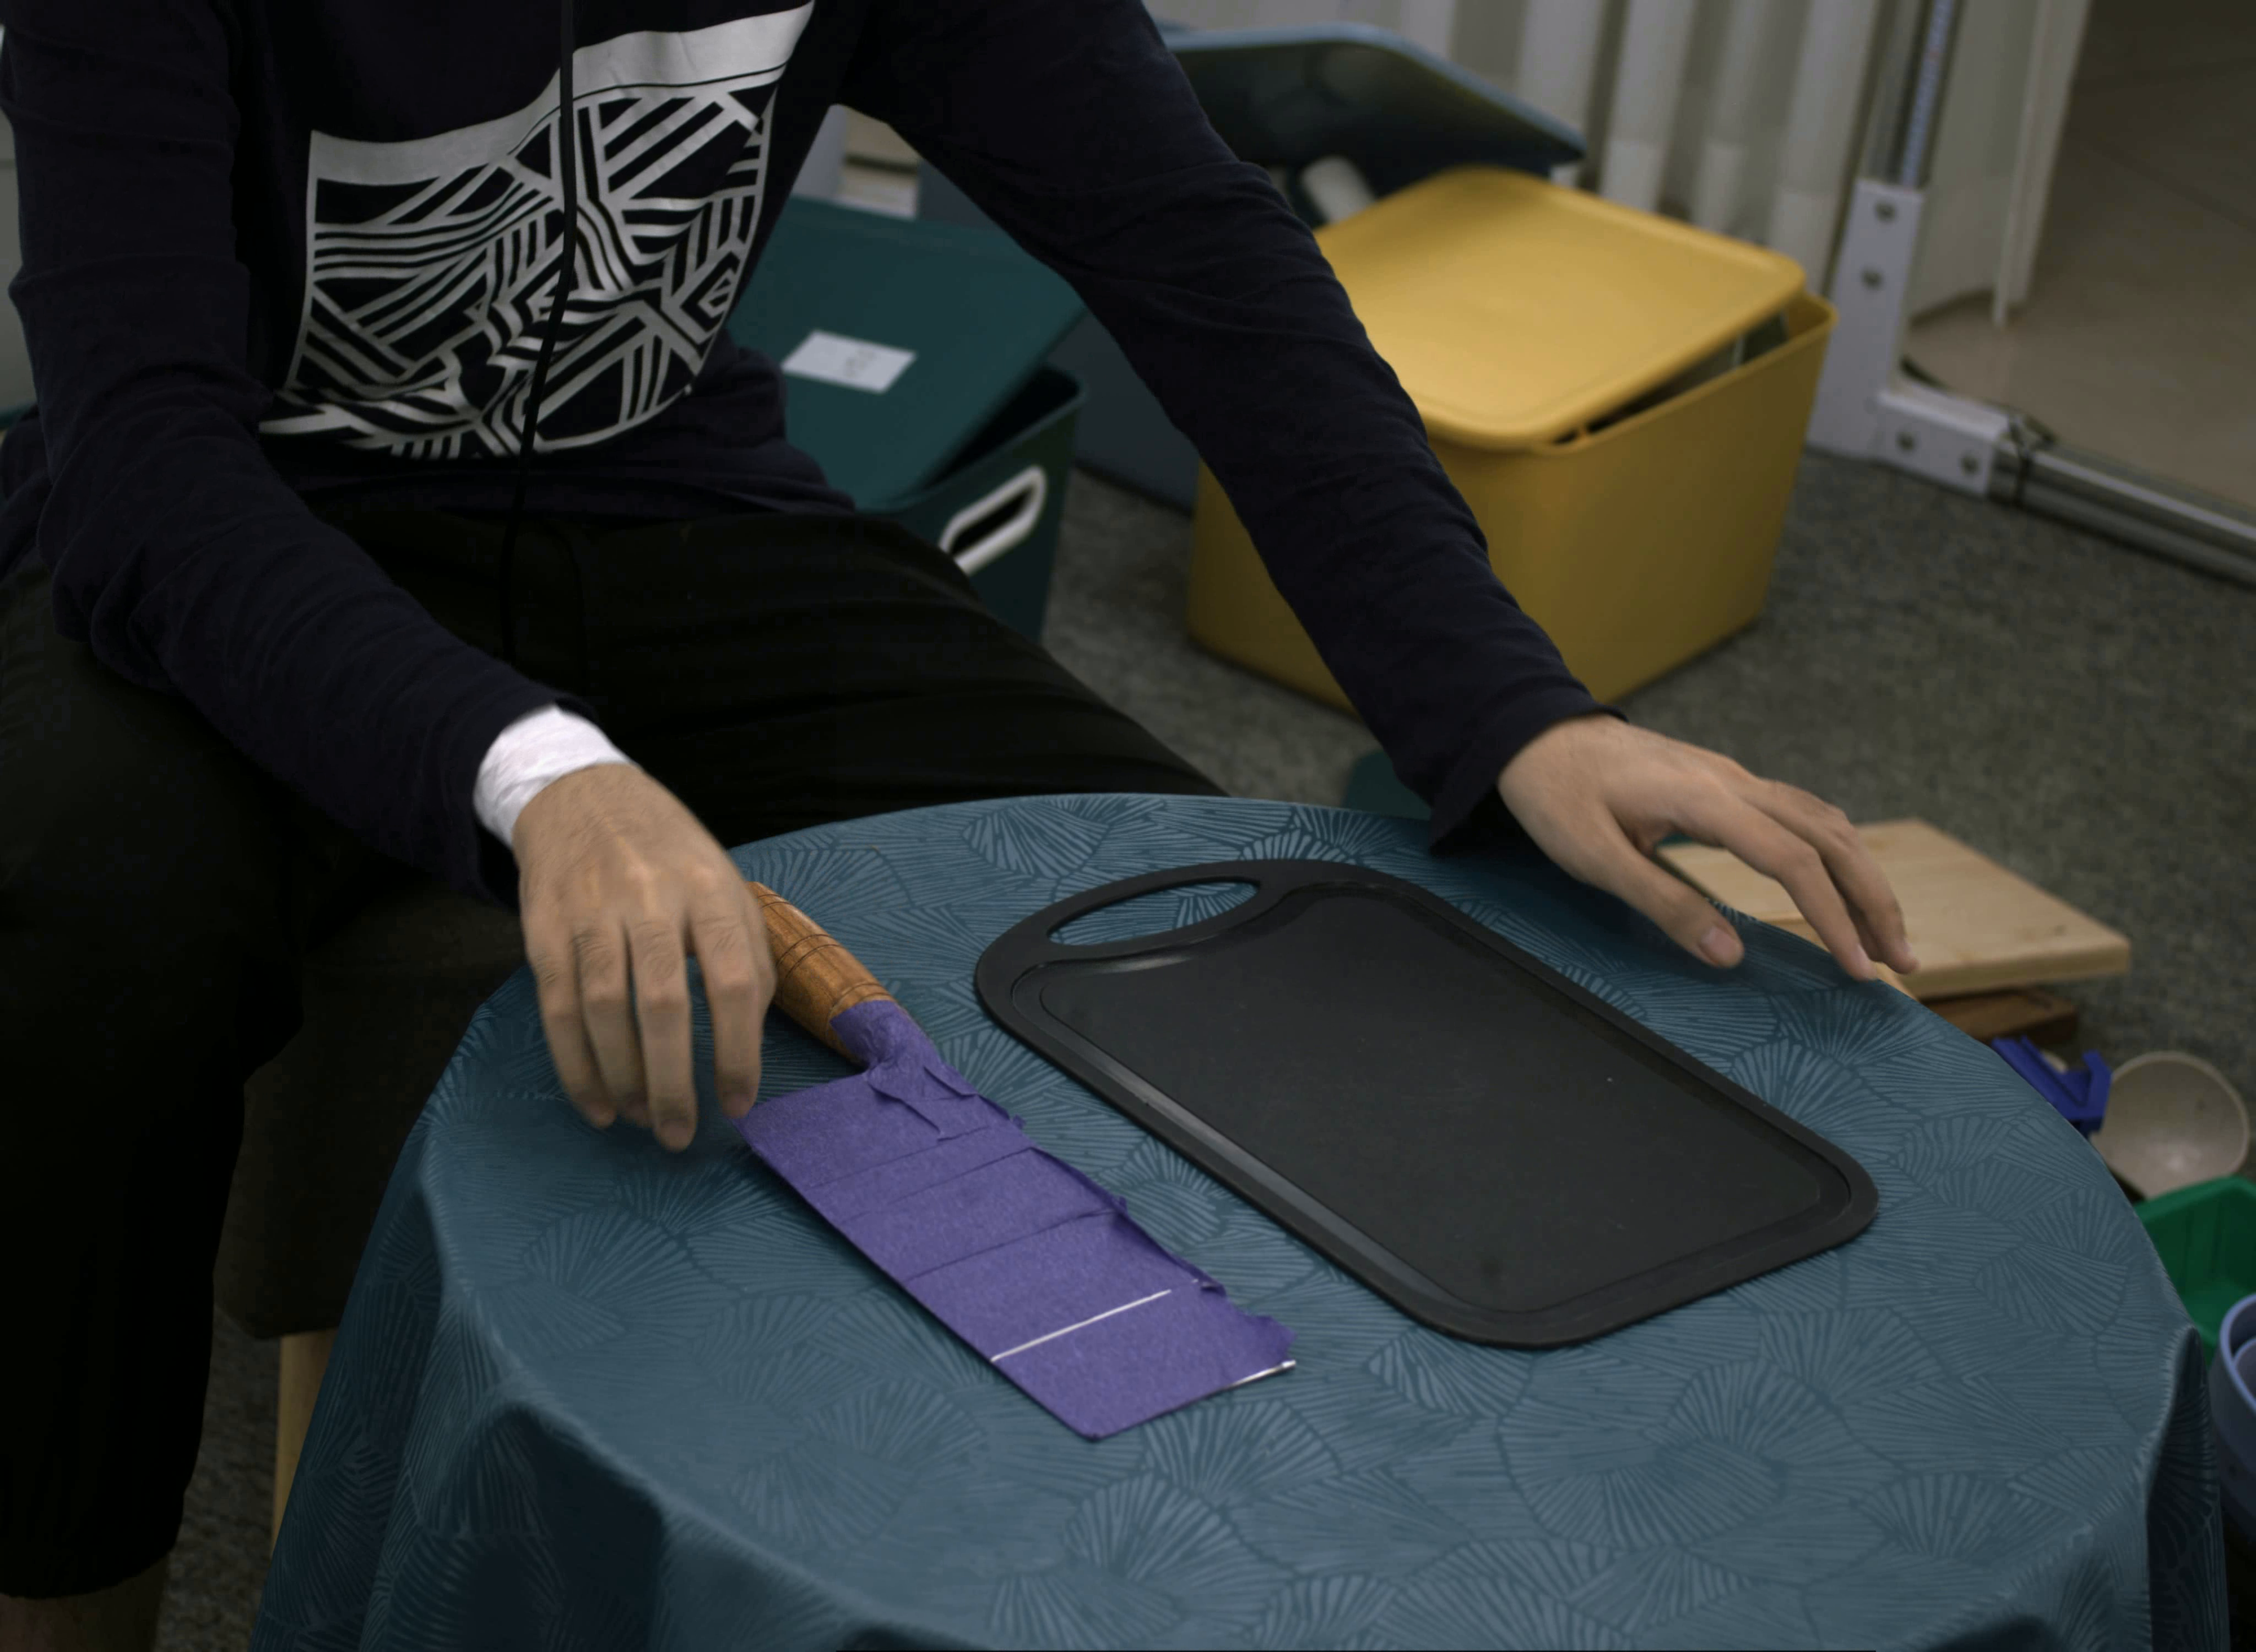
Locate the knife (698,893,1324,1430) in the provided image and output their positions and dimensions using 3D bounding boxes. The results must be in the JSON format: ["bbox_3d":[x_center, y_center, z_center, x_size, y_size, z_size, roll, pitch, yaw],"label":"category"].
[{"bbox_3d":[-0.070,0.109,1.790,0.103,0.032,0.318,-14,34,-36],"label":"knife"}]

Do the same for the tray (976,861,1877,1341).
[{"bbox_3d":[0.097,0.088,1.891,0.210,0.010,0.328,-15,34,-36],"label":"tray"}]
